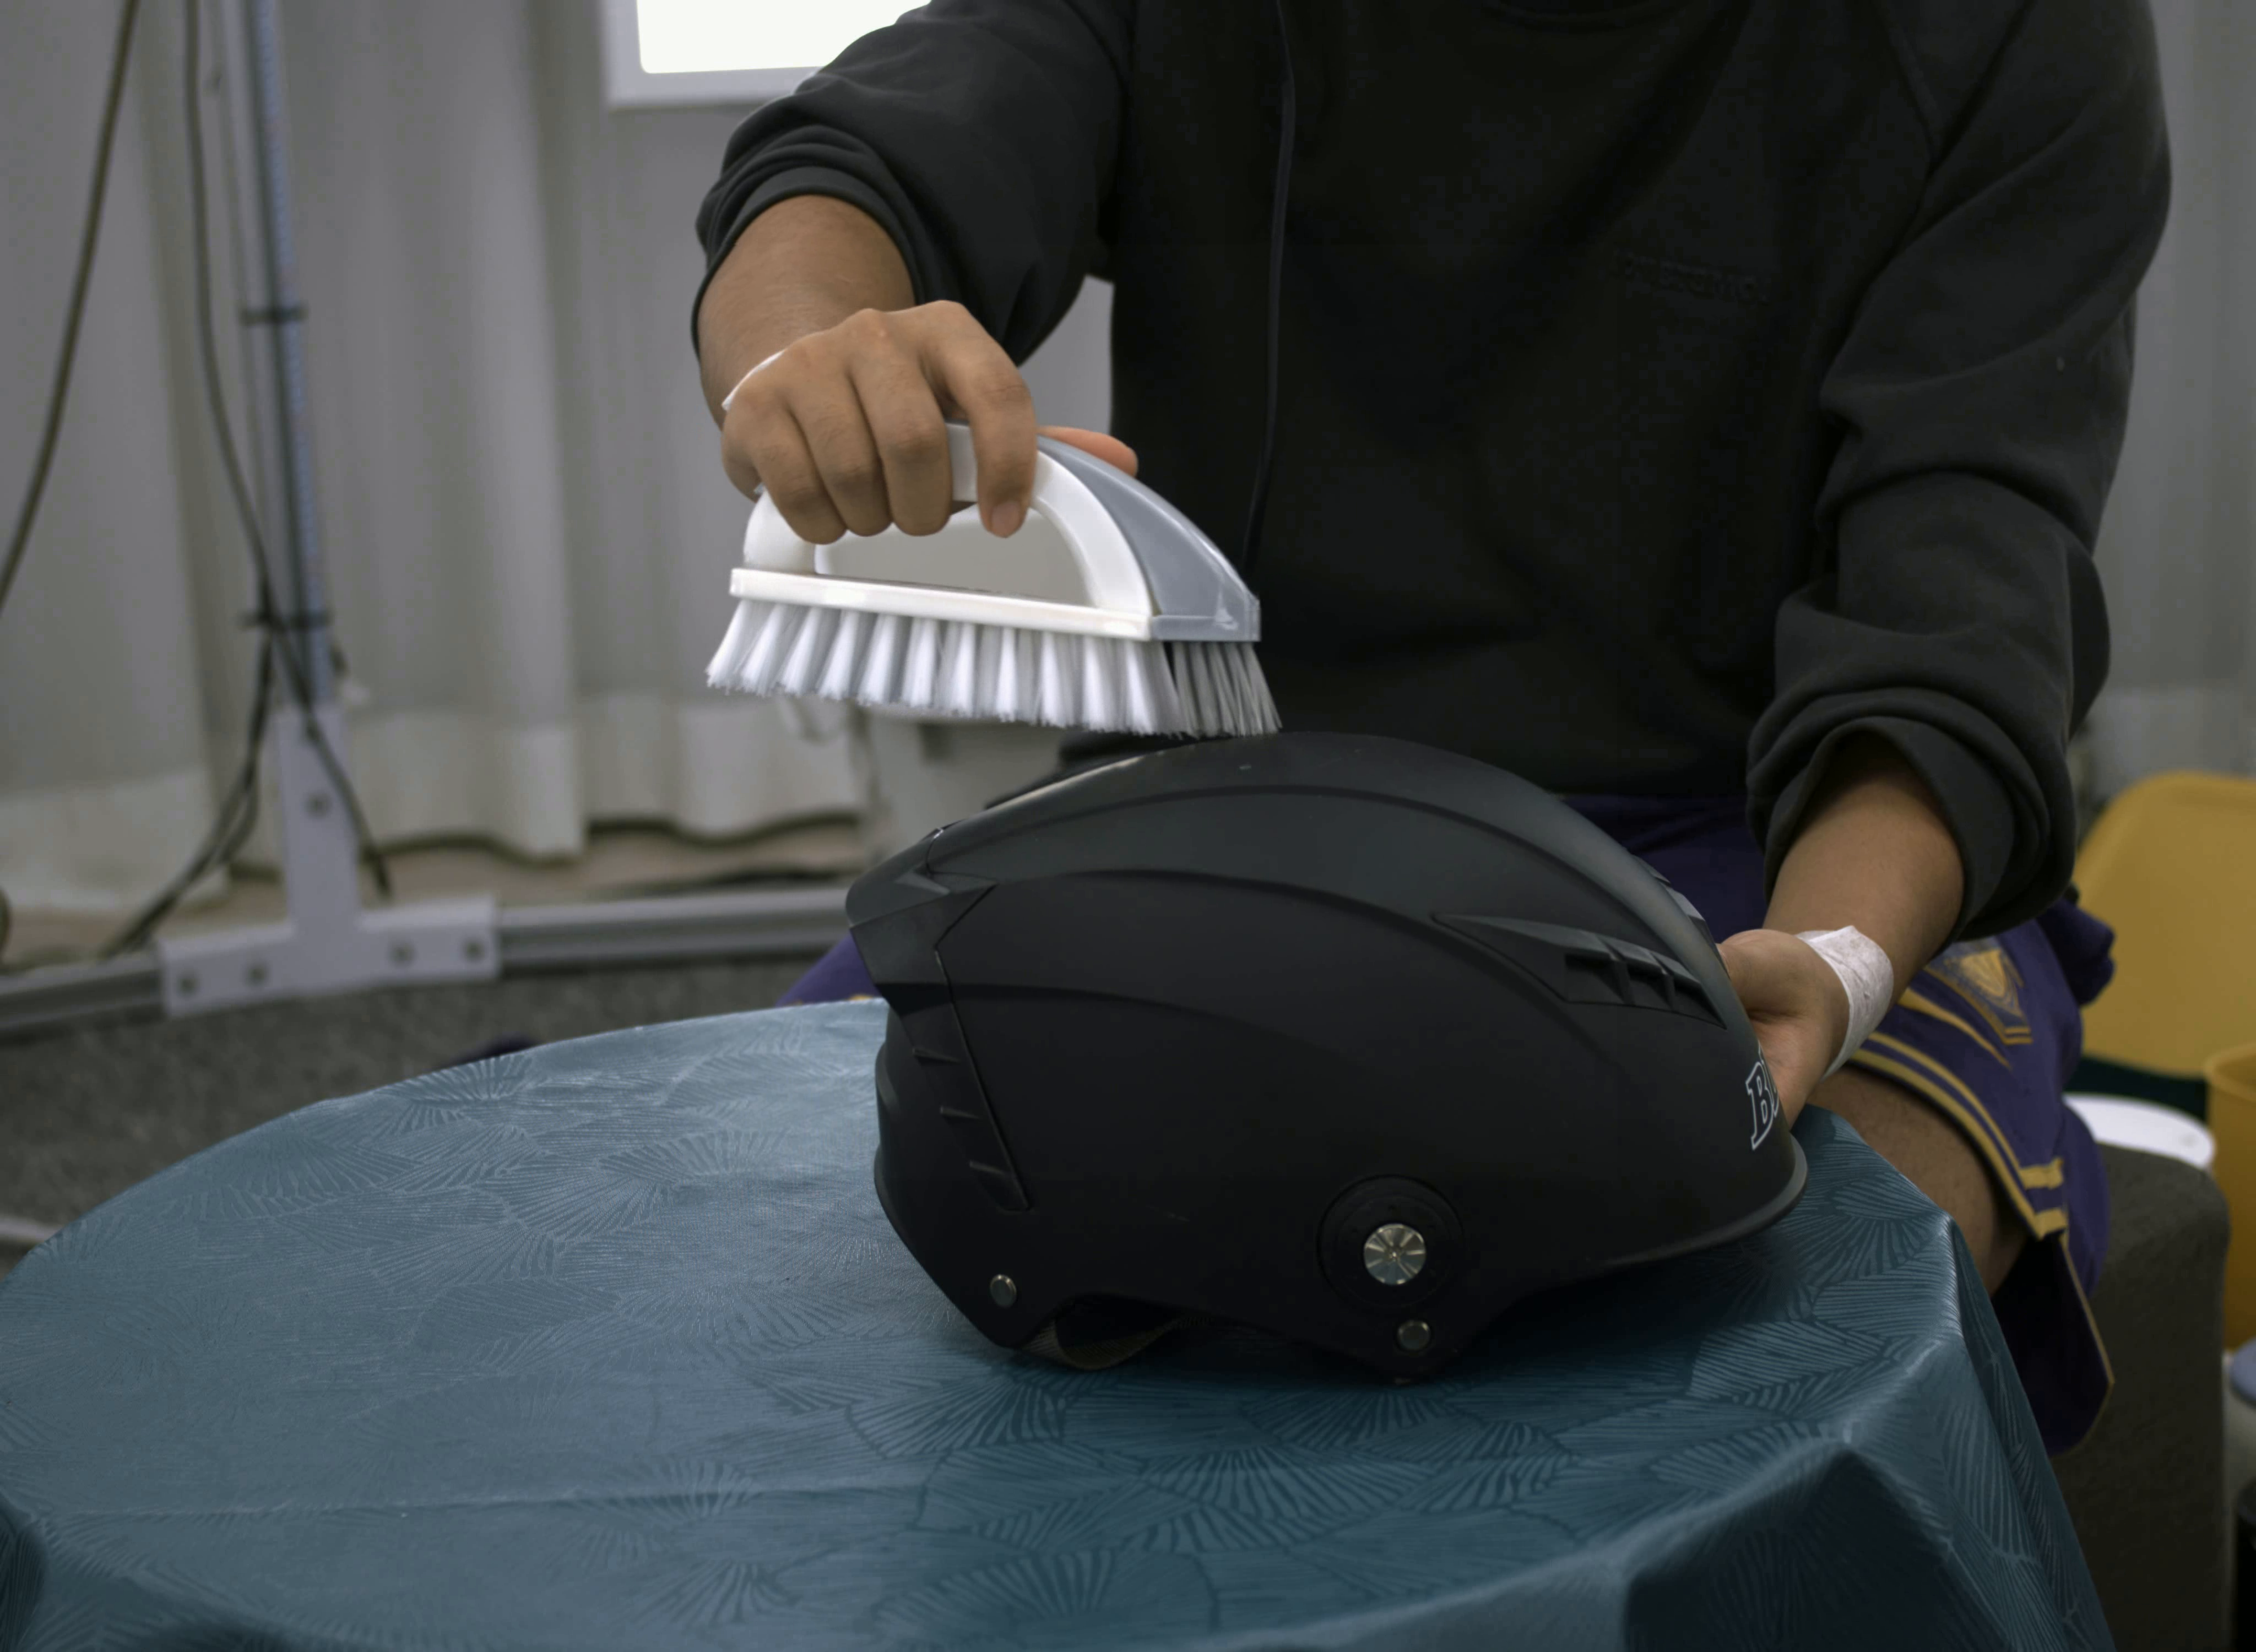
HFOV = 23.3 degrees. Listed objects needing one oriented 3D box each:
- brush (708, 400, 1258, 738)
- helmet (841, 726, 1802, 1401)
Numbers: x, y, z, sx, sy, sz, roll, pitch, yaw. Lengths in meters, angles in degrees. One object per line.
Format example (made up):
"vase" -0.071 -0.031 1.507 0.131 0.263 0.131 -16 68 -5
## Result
"brush" -0.038 -0.079 1.668 0.176 0.094 0.061 9 7 21
"helmet" 0.056 0.056 1.620 0.276 0.172 0.248 -5 14 11
